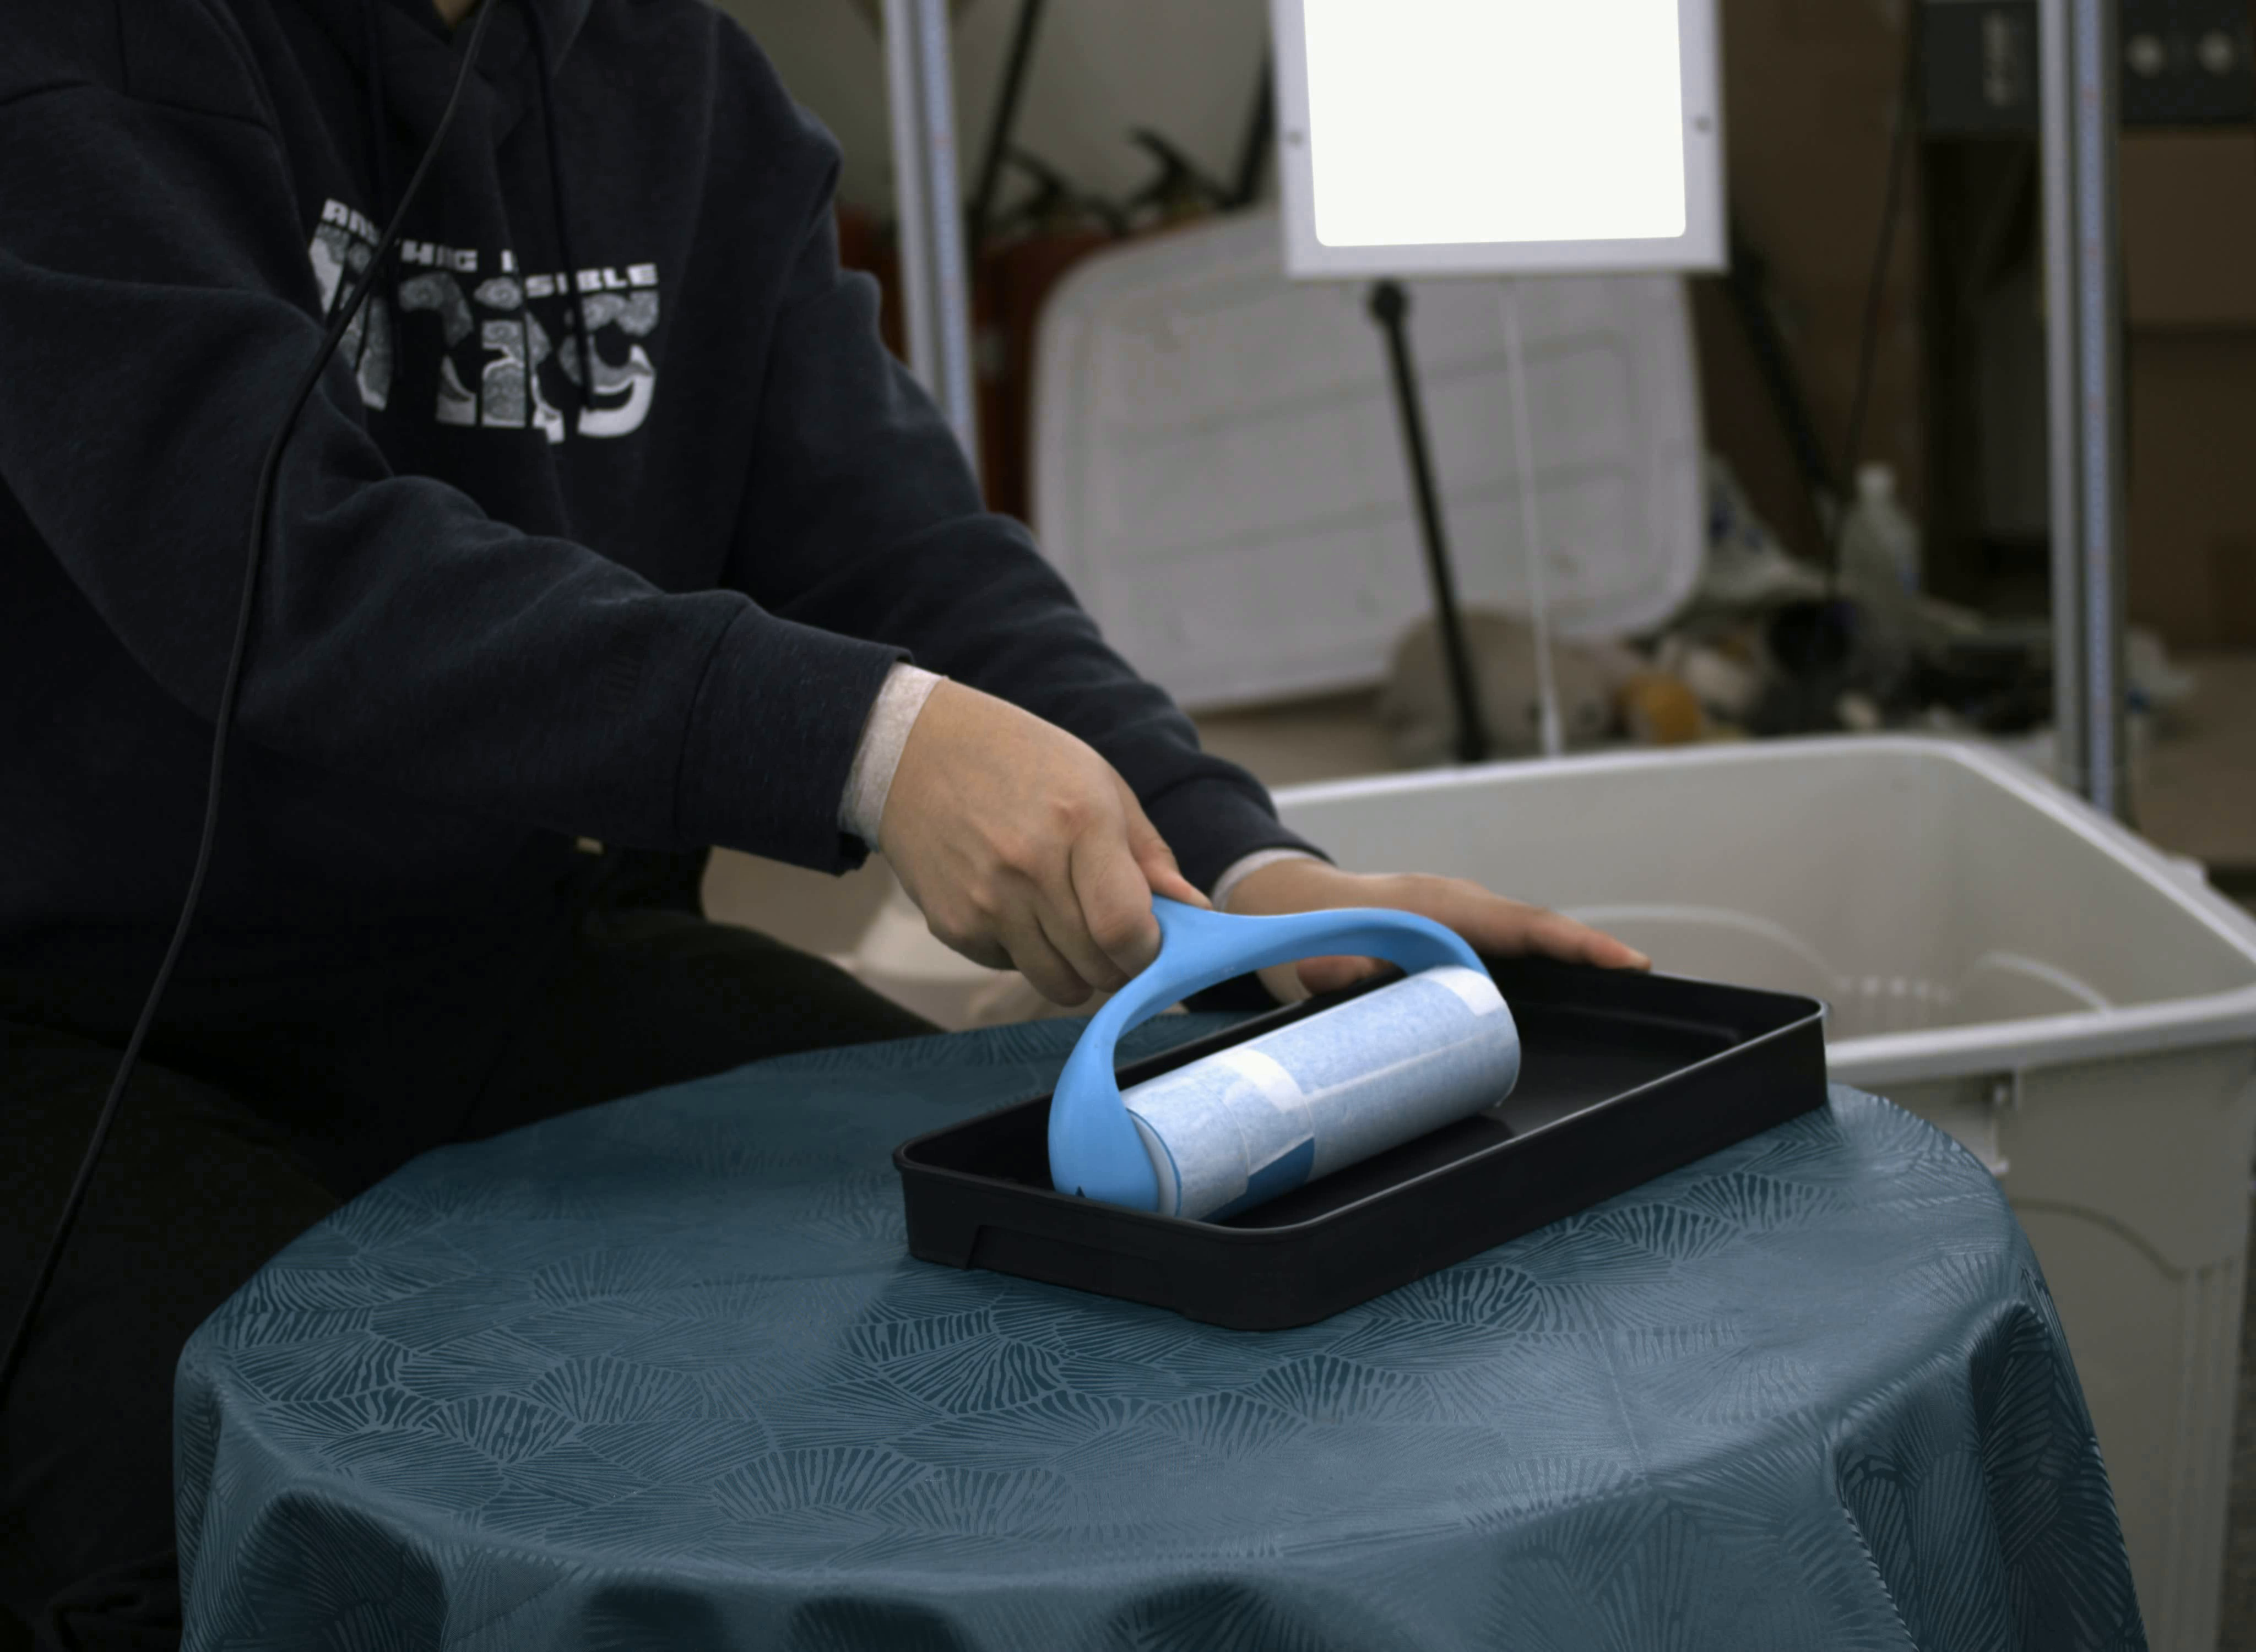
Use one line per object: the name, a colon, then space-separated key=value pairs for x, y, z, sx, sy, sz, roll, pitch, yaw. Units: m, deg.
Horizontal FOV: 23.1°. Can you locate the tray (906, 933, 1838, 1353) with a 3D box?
tray: x=0.090 y=0.104 z=1.898 sx=0.188 sy=0.037 sz=0.310 roll=8 pitch=21 yaw=43

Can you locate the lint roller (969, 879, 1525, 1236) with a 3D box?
lint roller: x=0.017 y=0.060 z=1.899 sx=0.182 sy=0.069 sz=0.223 roll=39 pitch=38 yaw=24
